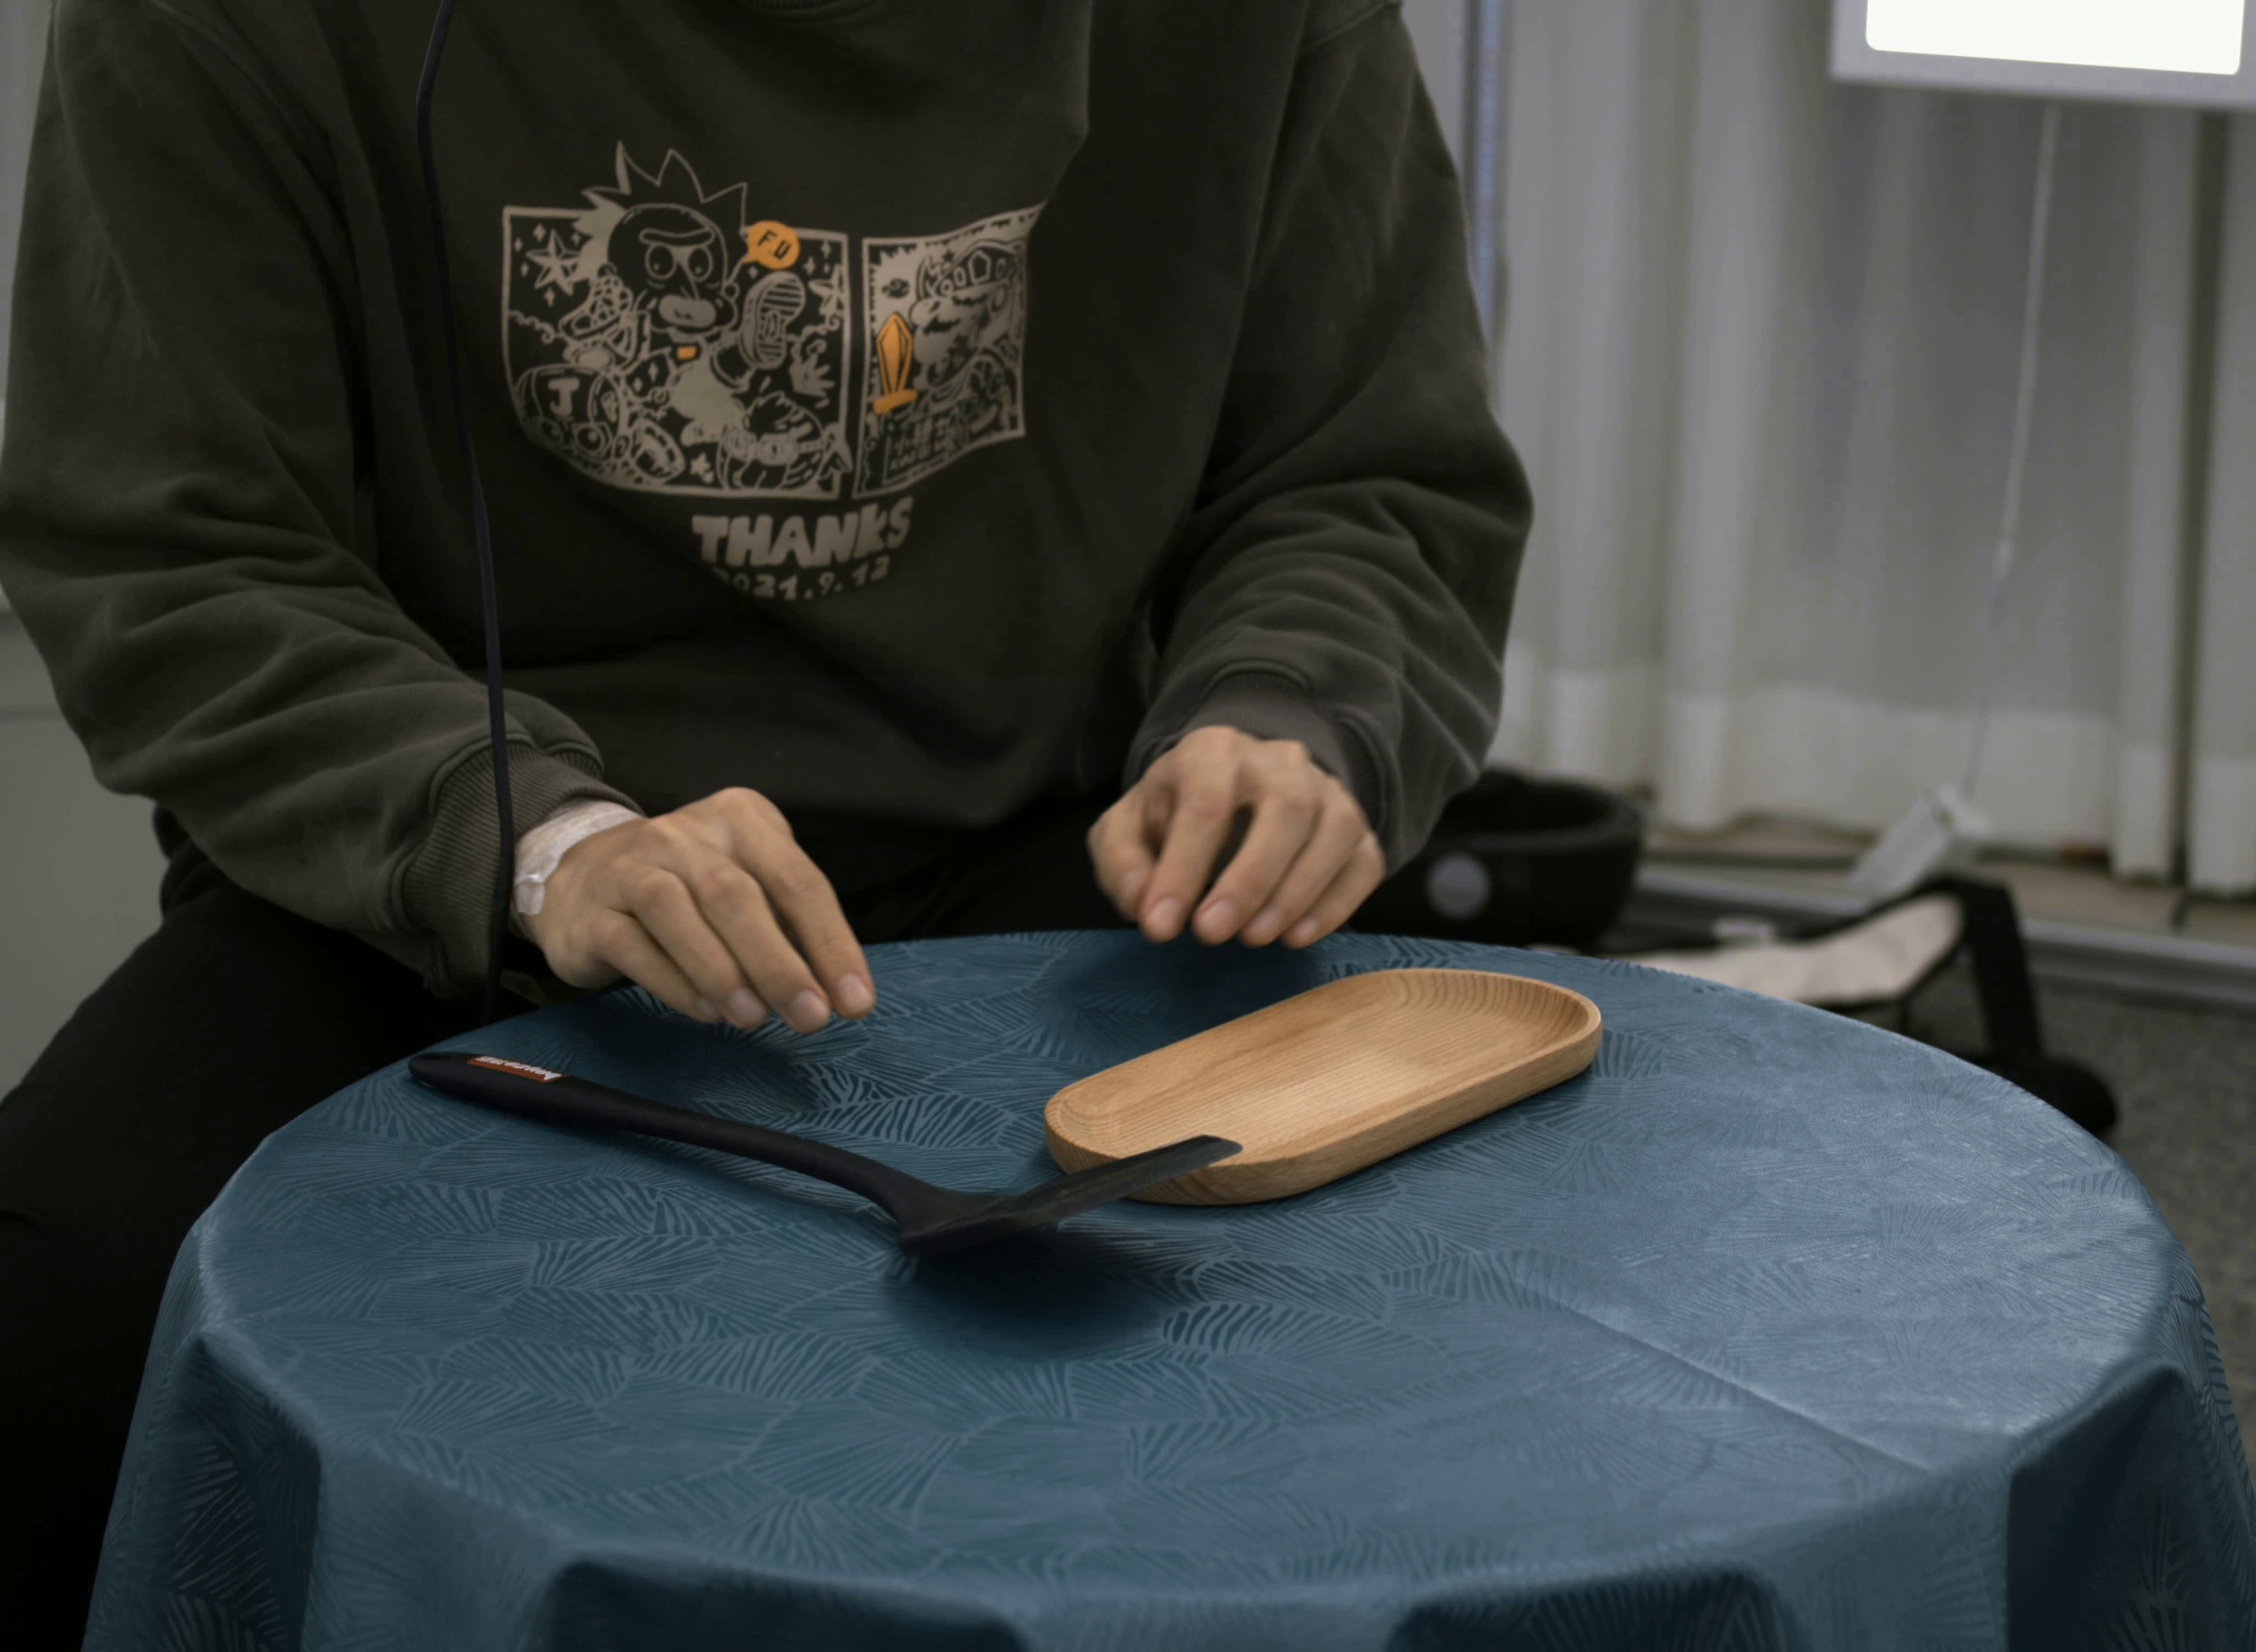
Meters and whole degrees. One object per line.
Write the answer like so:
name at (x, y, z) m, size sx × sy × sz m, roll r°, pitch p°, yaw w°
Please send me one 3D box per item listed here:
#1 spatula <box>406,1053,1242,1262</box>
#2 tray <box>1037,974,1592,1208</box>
spatula at (-0.113, 0.093, 1.628) m, size 0.322 × 0.040 × 0.100 m, roll 14°, pitch 19°, yaw 39°
tray at (0.063, 0.084, 1.705) m, size 0.100 × 0.020 × 0.232 m, roll 13°, pitch 21°, yaw 37°
